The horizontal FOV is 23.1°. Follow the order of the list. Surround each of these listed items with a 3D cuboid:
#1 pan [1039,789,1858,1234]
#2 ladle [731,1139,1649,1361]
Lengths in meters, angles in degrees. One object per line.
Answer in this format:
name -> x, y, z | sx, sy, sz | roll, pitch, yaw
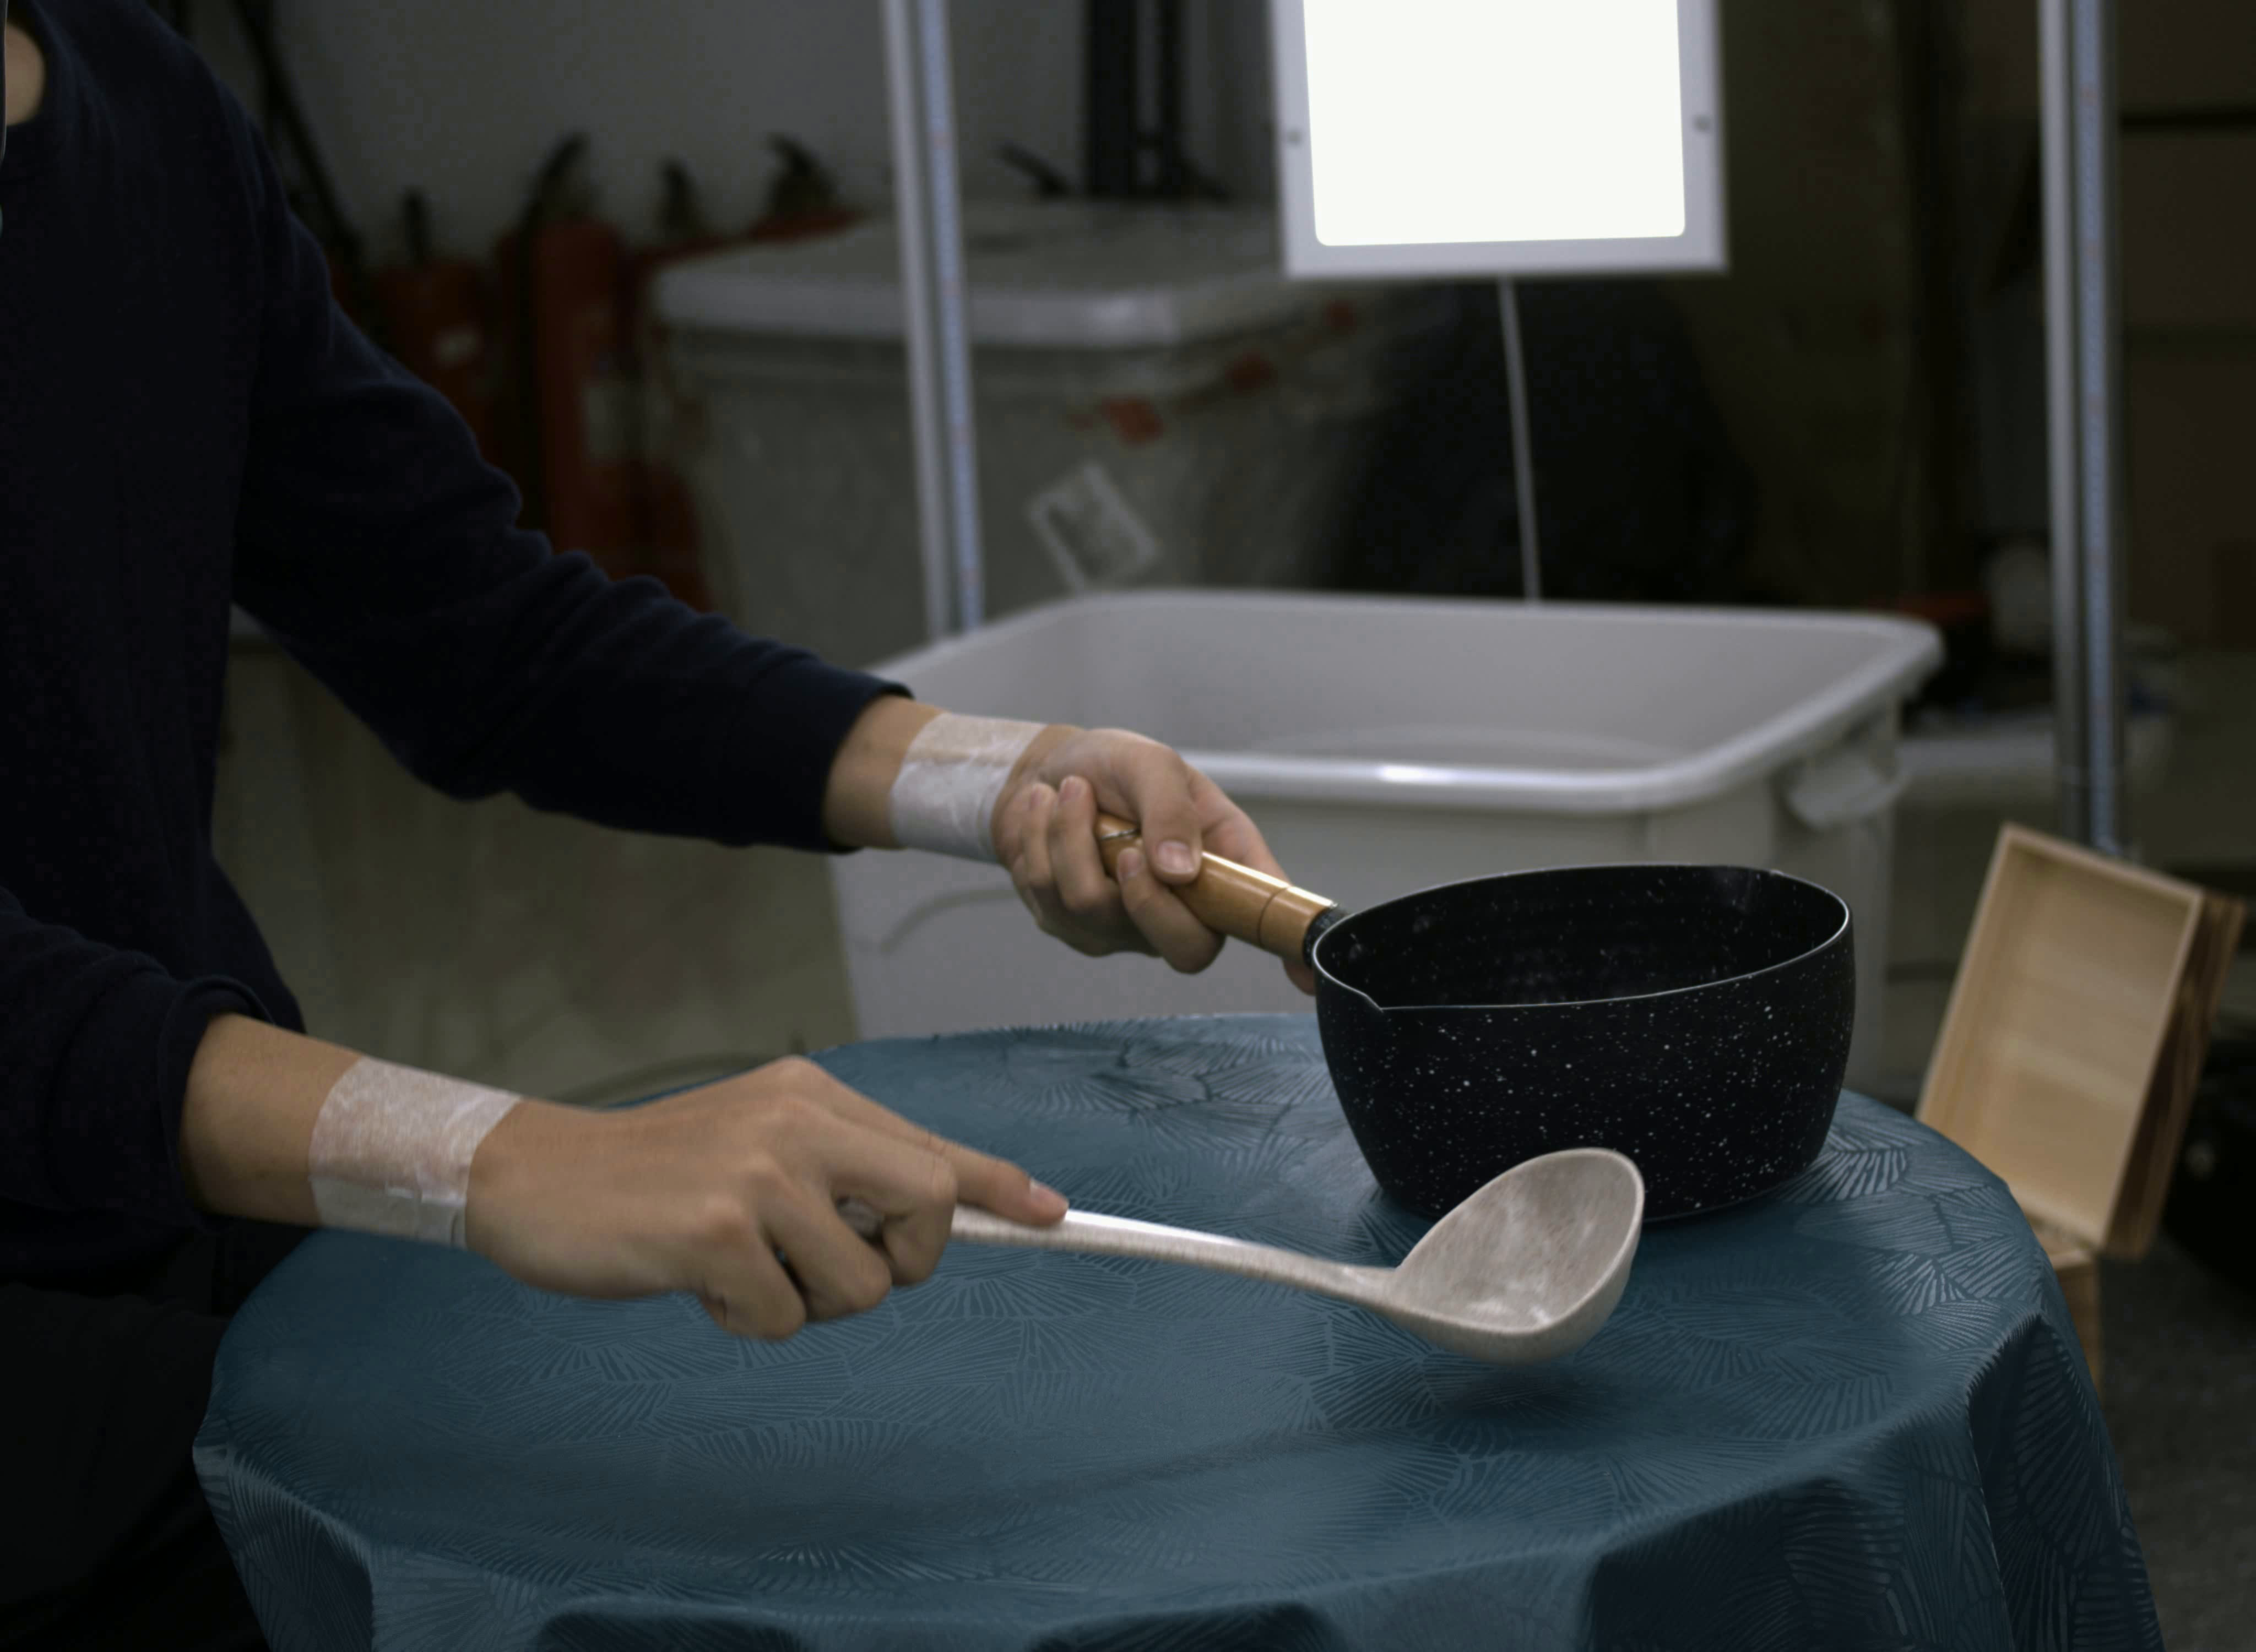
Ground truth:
pan -> 0.098, 0.057, 1.918 | 0.350, 0.108, 0.202 | 8, 20, 43
ladle -> 0.022, 0.105, 1.628 | 0.271, 0.070, 0.090 | 12, 22, -16
